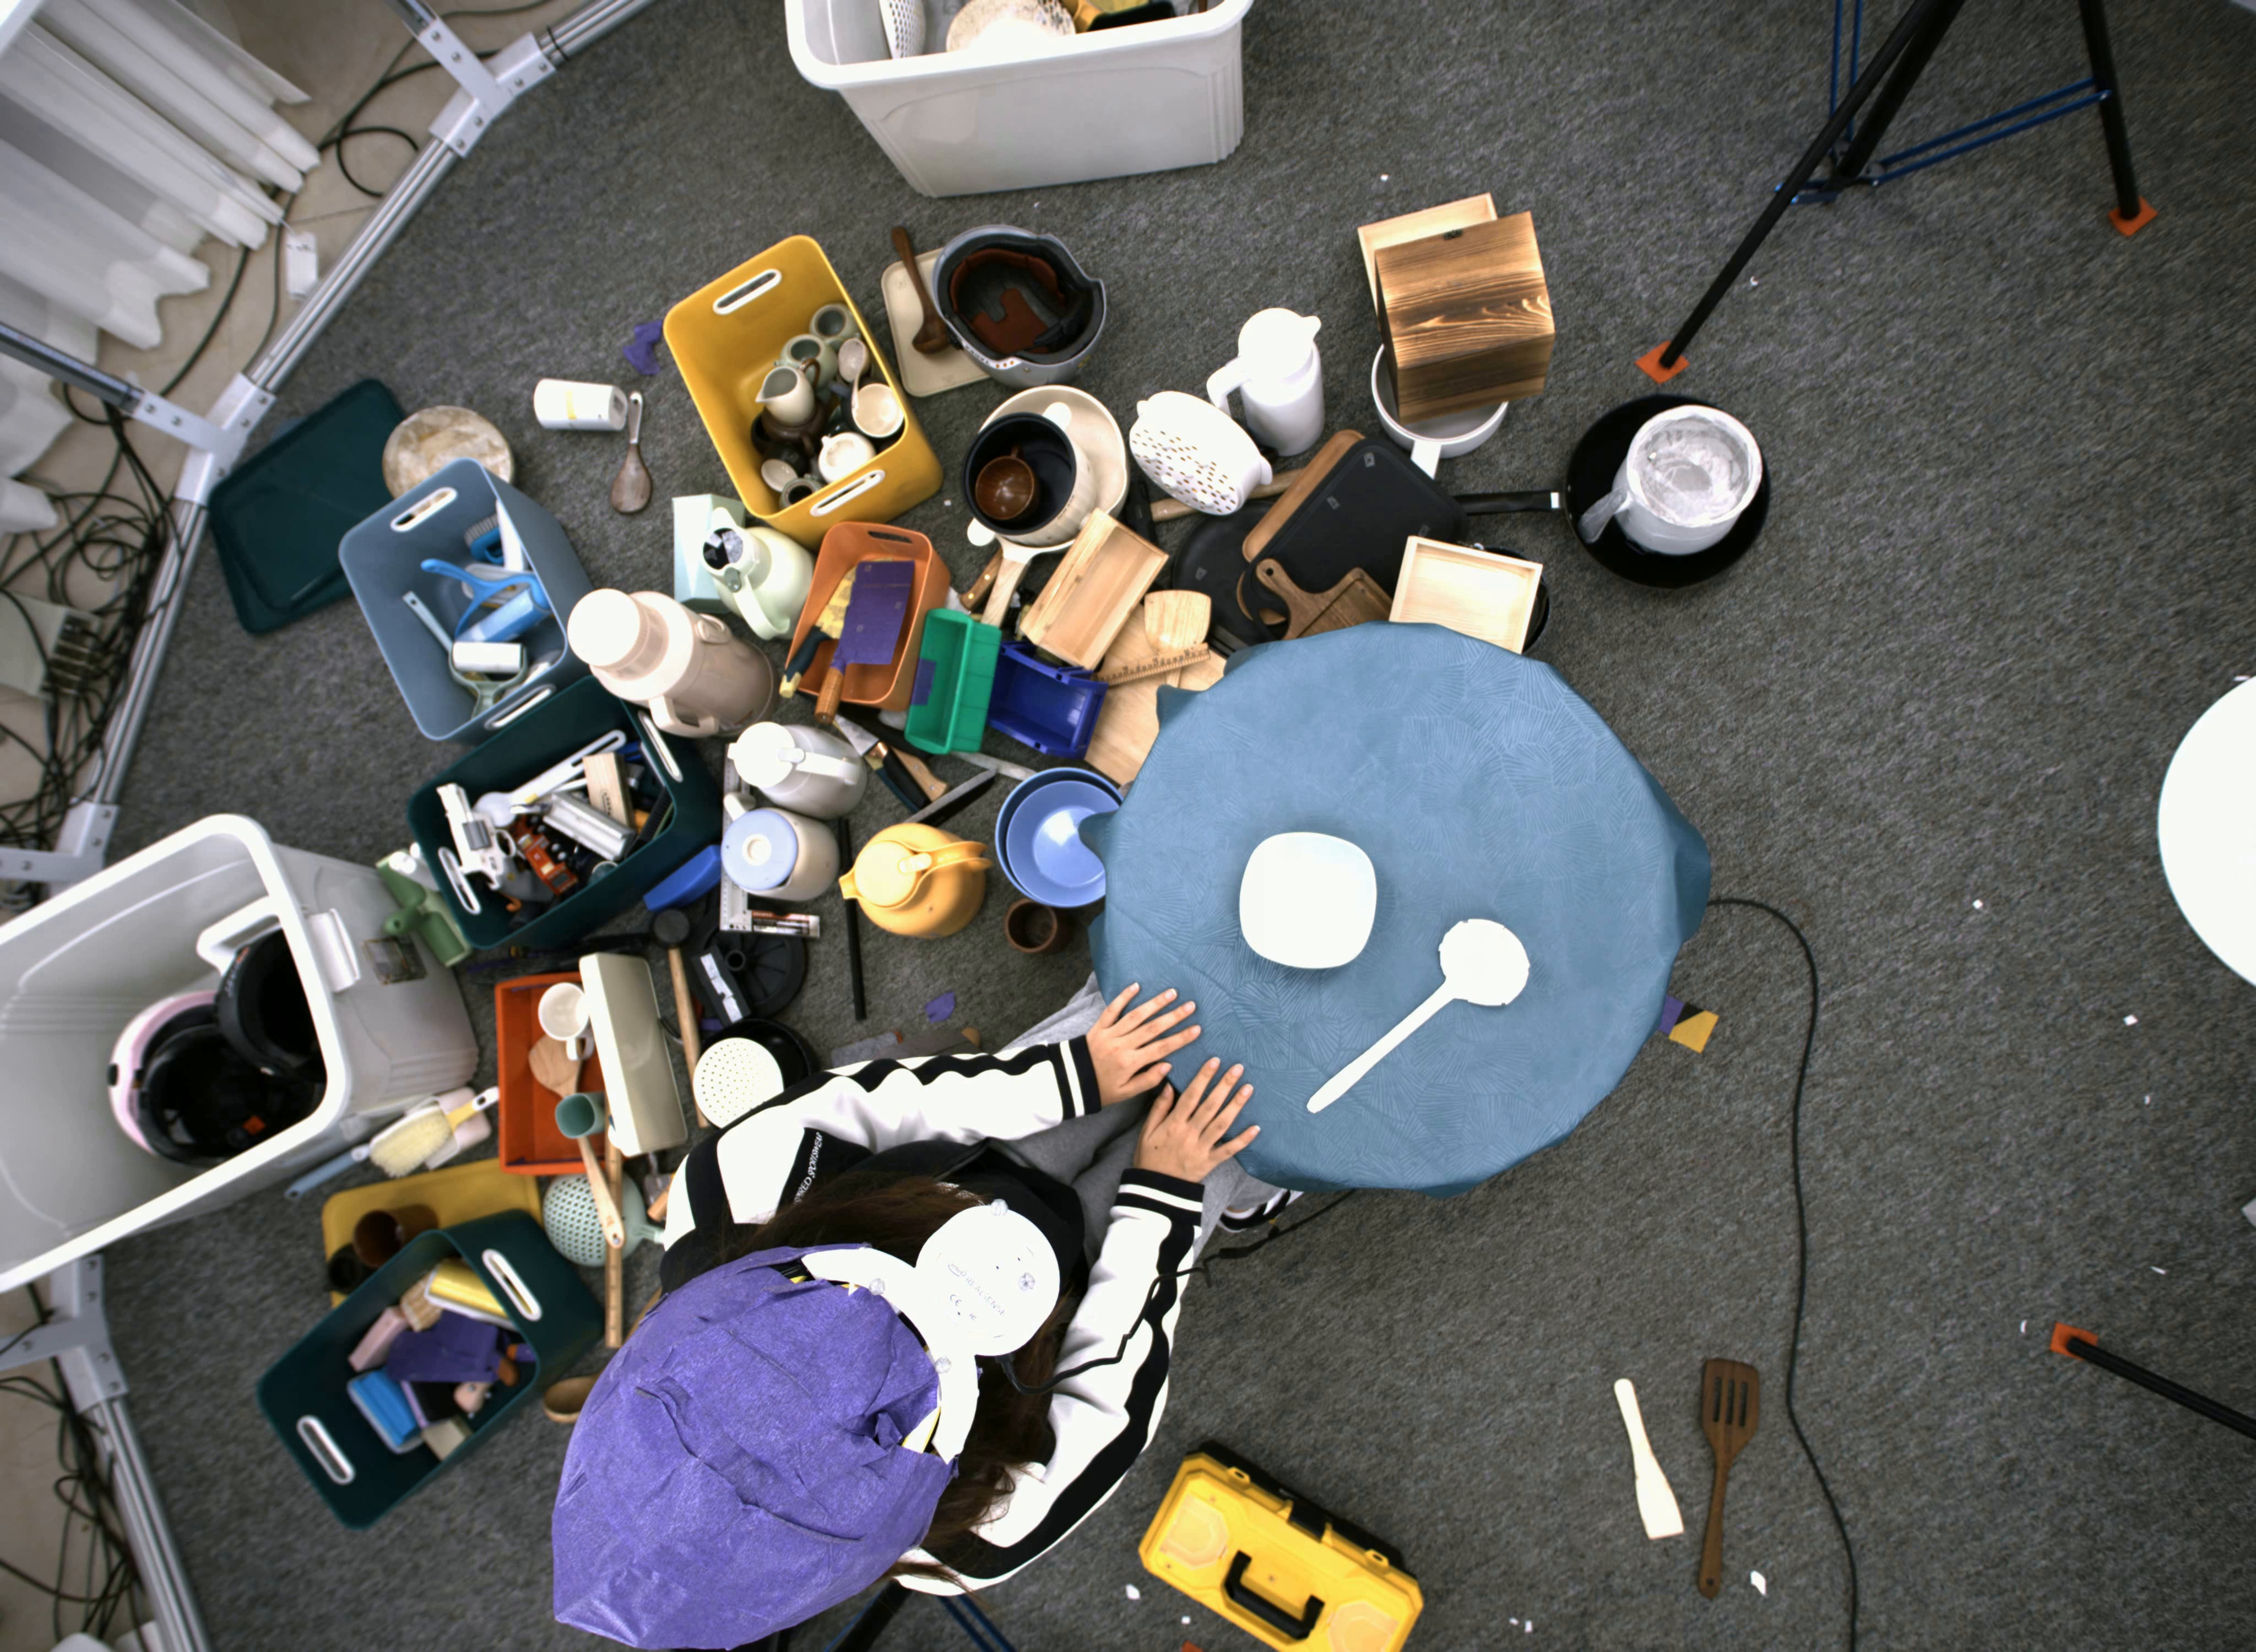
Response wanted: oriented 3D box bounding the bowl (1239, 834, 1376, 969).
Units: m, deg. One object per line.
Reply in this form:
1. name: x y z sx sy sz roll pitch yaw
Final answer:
1. bowl: 0.189 0.079 1.449 0.152 0.058 0.151 -1 86 11

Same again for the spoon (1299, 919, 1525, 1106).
1. spoon: 0.283 0.197 1.422 0.279 0.059 0.100 -38 76 6
